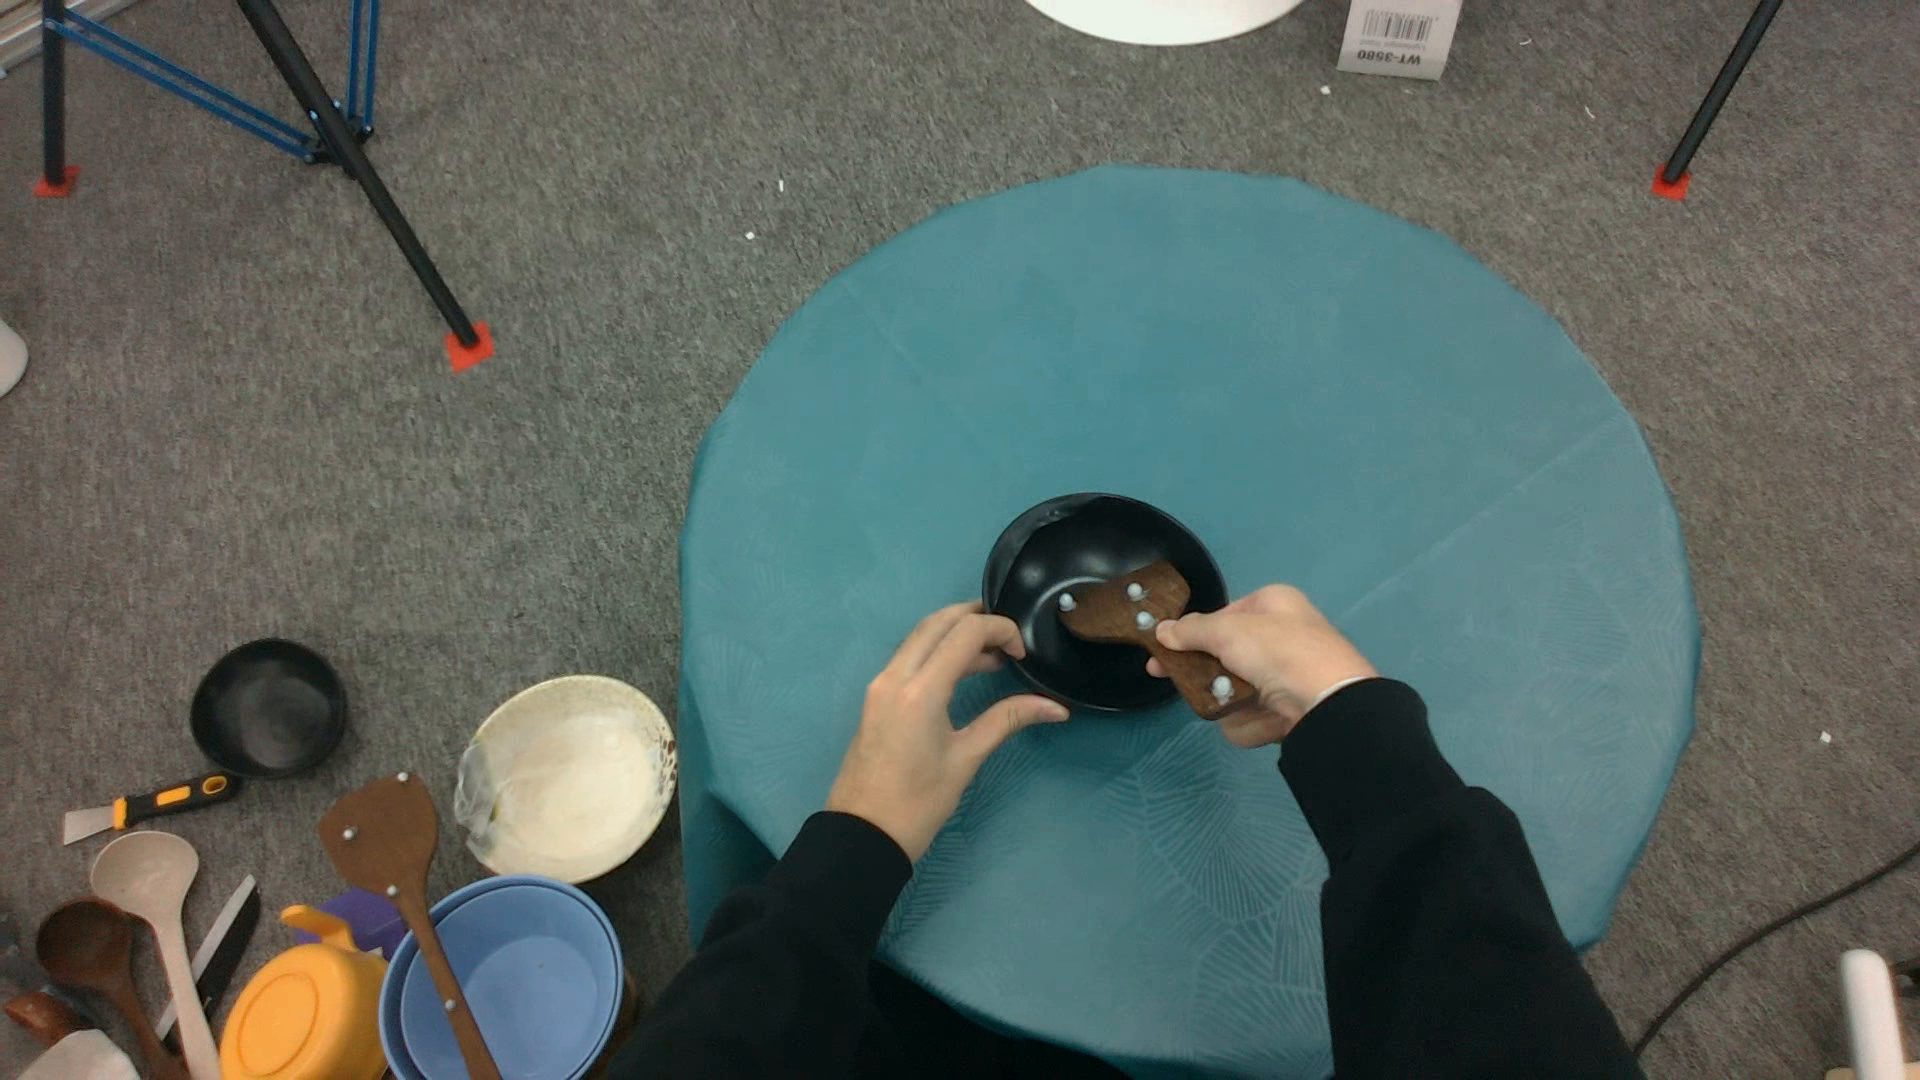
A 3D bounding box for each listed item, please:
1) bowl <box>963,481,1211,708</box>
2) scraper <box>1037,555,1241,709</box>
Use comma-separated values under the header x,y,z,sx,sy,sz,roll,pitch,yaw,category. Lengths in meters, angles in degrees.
x,y,z,sx,sy,sz,roll,pitch,yaw,category
0.066,0.037,0.771,0.140,0.049,0.140,5,57,-8,bowl
0.095,0.046,0.700,0.076,0.211,0.011,-23,105,-4,scraper
